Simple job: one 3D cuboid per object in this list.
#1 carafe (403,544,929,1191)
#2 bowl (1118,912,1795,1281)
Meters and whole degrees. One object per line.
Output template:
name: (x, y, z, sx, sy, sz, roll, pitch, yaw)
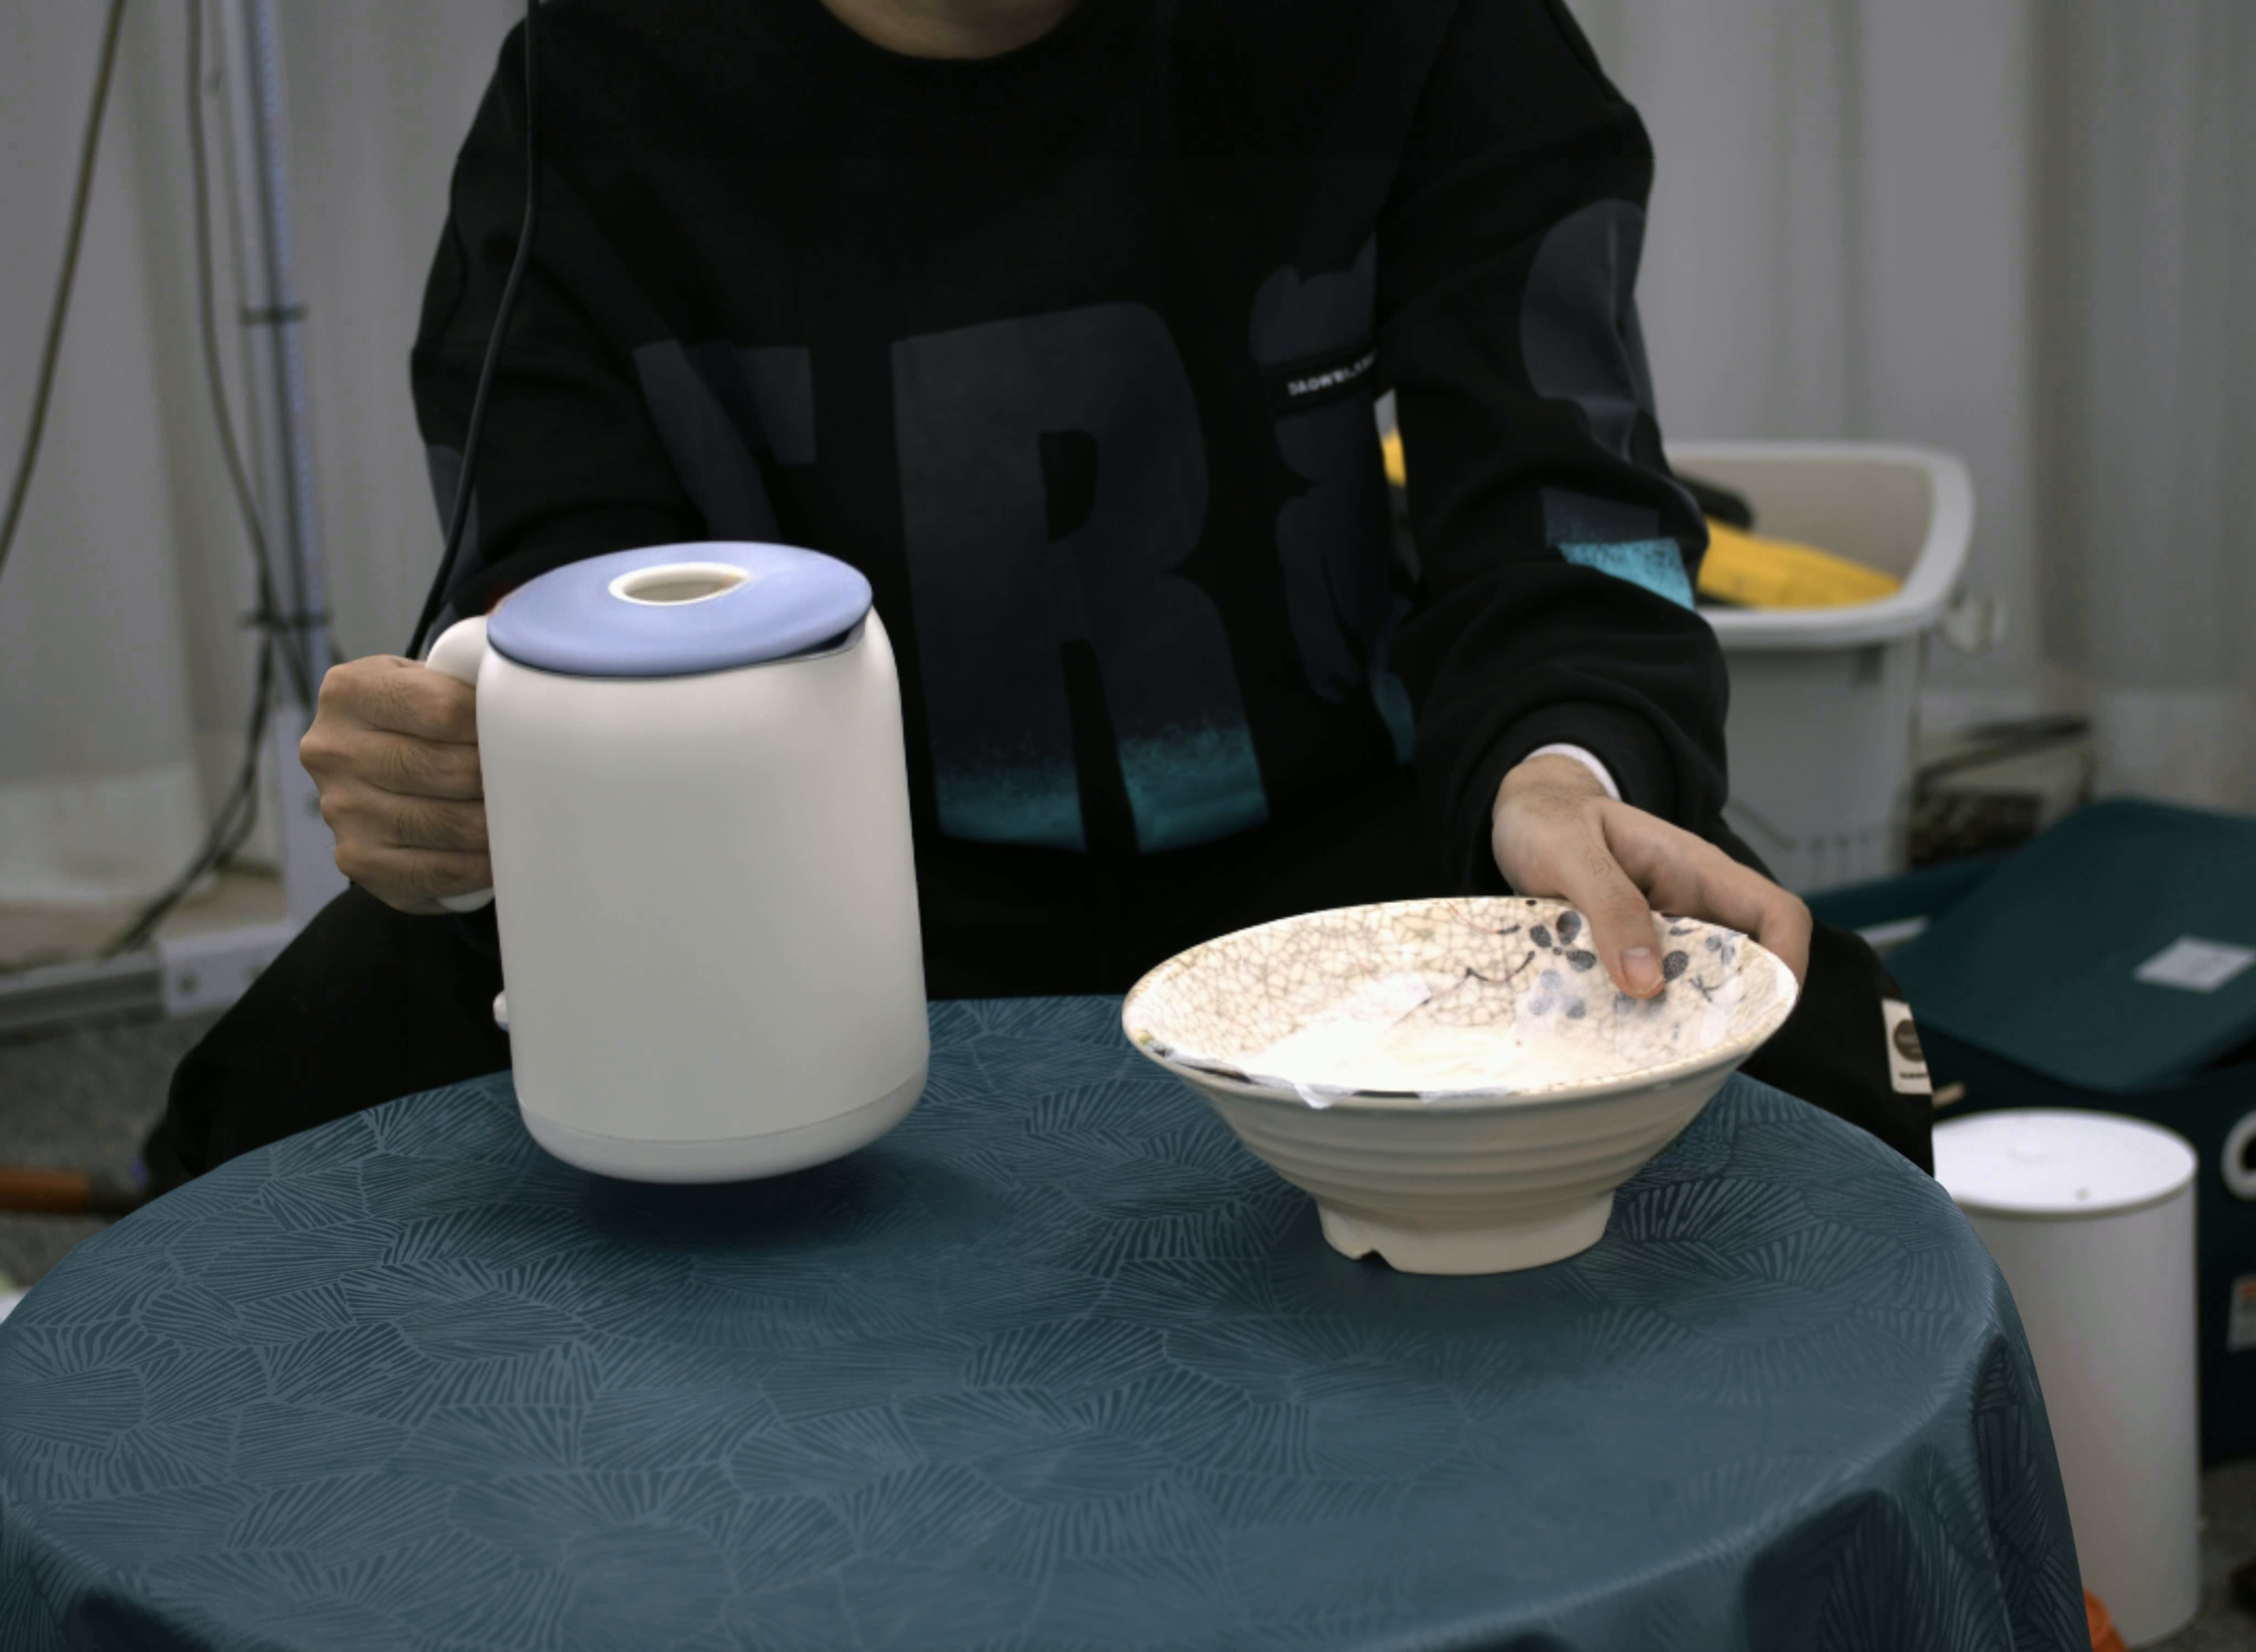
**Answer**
carafe: (-0.152, 0.009, 1.712, 0.192, 0.182, 0.132, 7, 20, 36)
bowl: (0.099, 0.087, 1.650, 0.203, 0.078, 0.205, -2, 13, 0)
